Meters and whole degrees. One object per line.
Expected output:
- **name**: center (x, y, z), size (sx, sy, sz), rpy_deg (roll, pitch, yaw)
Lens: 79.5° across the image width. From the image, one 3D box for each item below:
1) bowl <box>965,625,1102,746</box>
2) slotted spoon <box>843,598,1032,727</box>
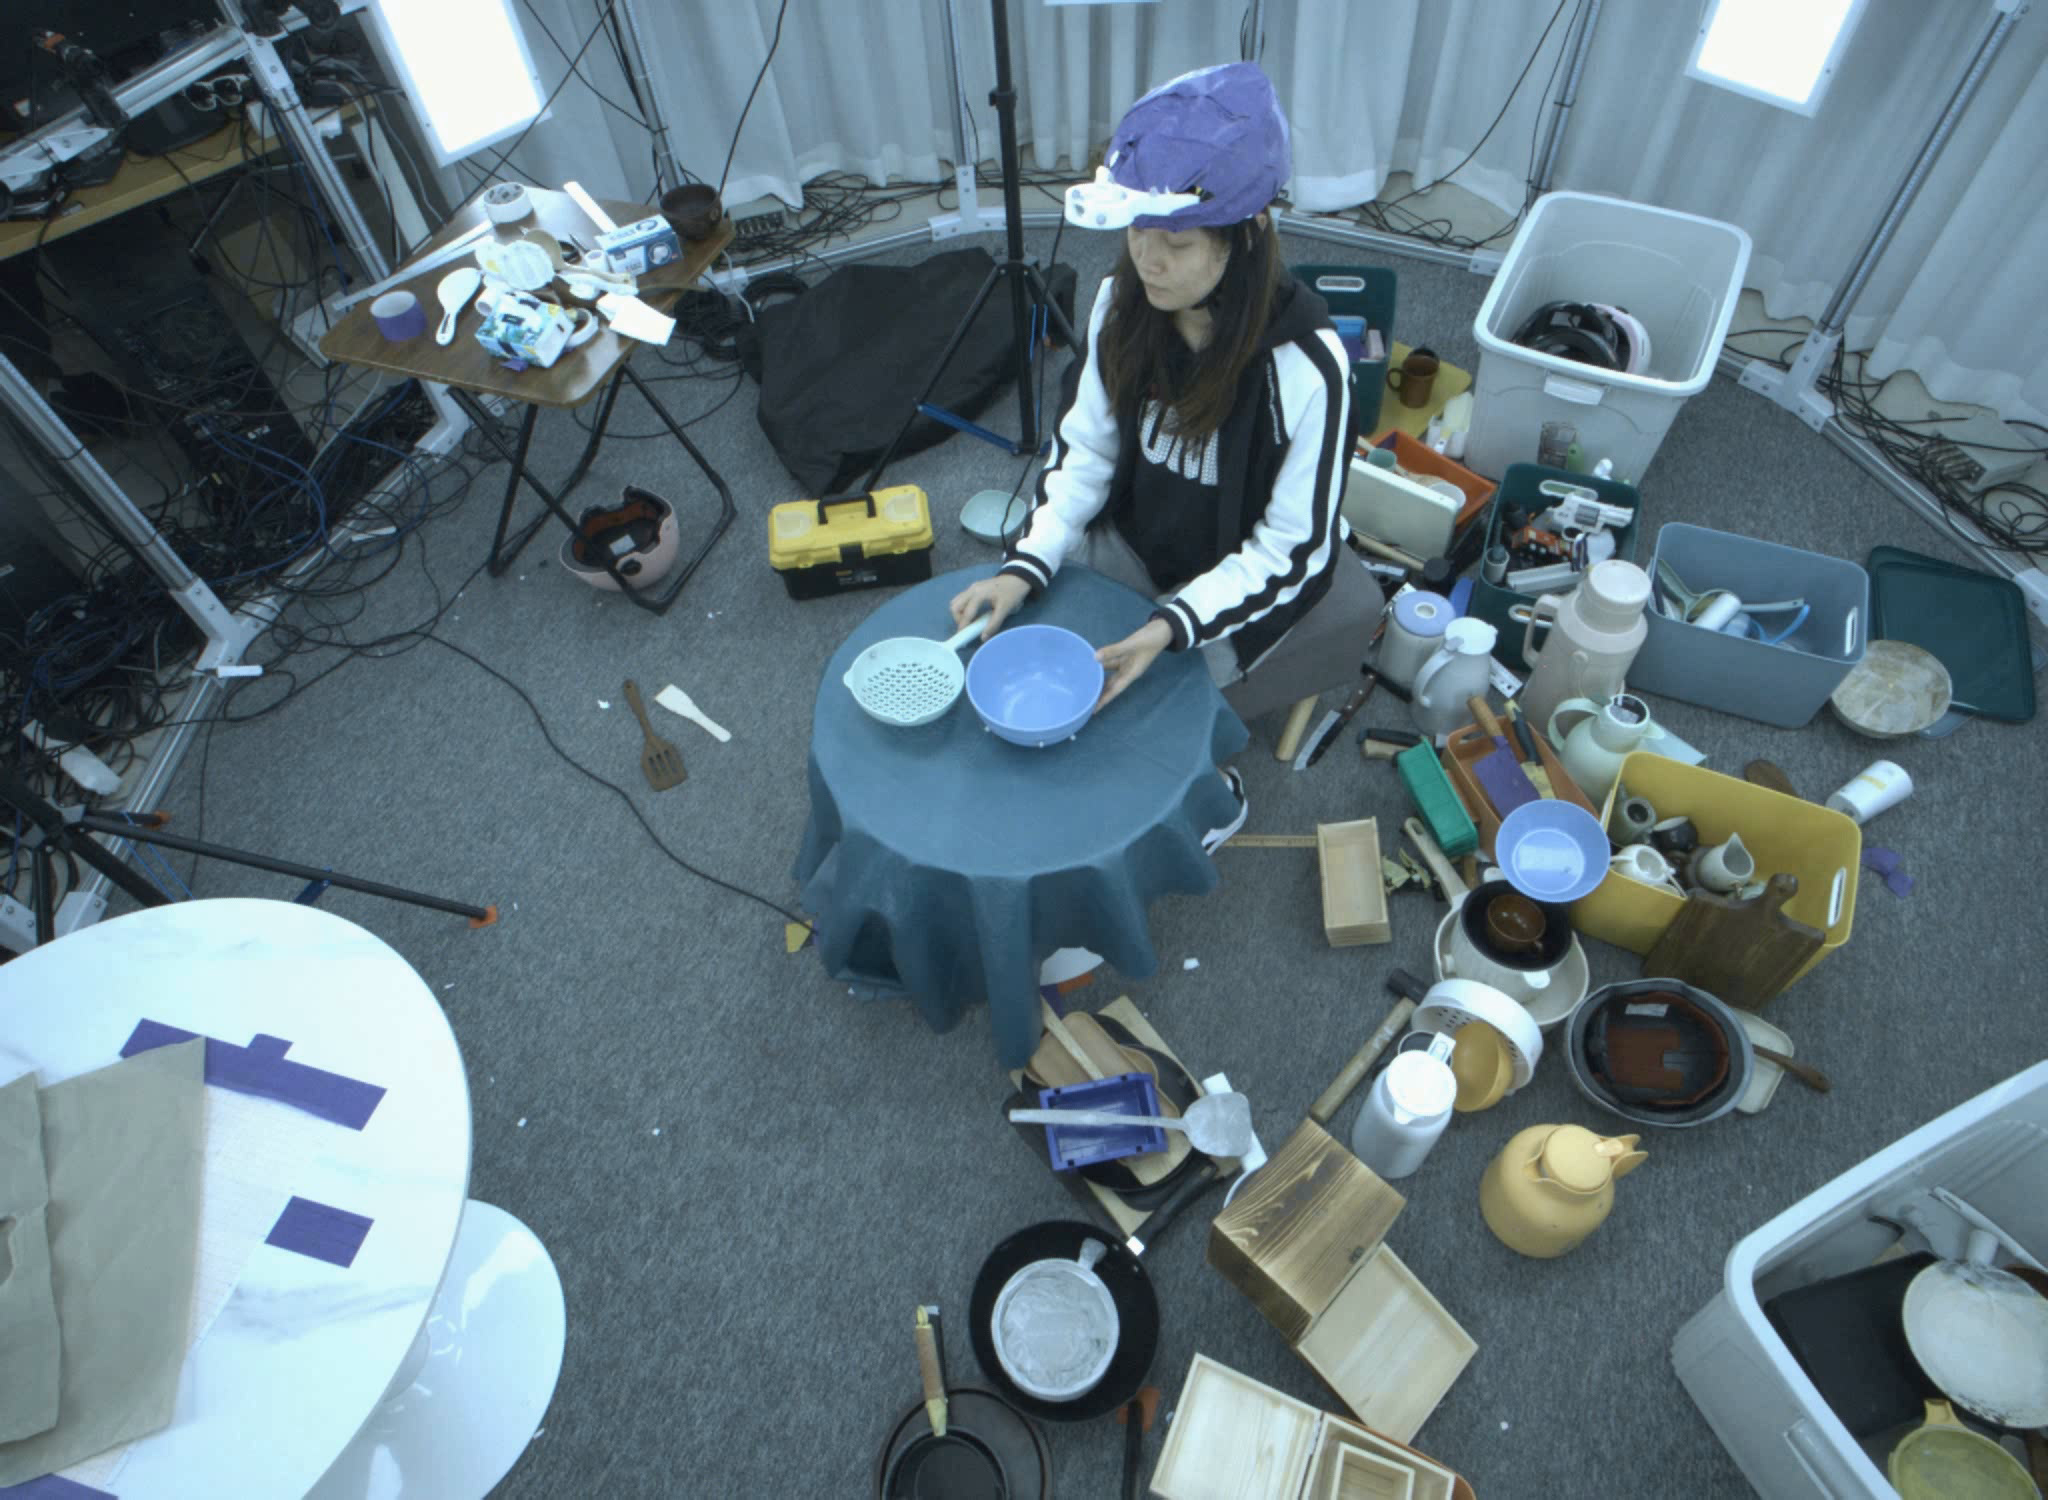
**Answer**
- **bowl**: center (0.016, -0.078, 1.784), size (0.196, 0.096, 0.194), rpy_deg (-1, 54, 2)
- **slotted spoon**: center (-0.110, -0.151, 1.863), size (0.166, 0.076, 0.361), rpy_deg (34, 61, 22)
